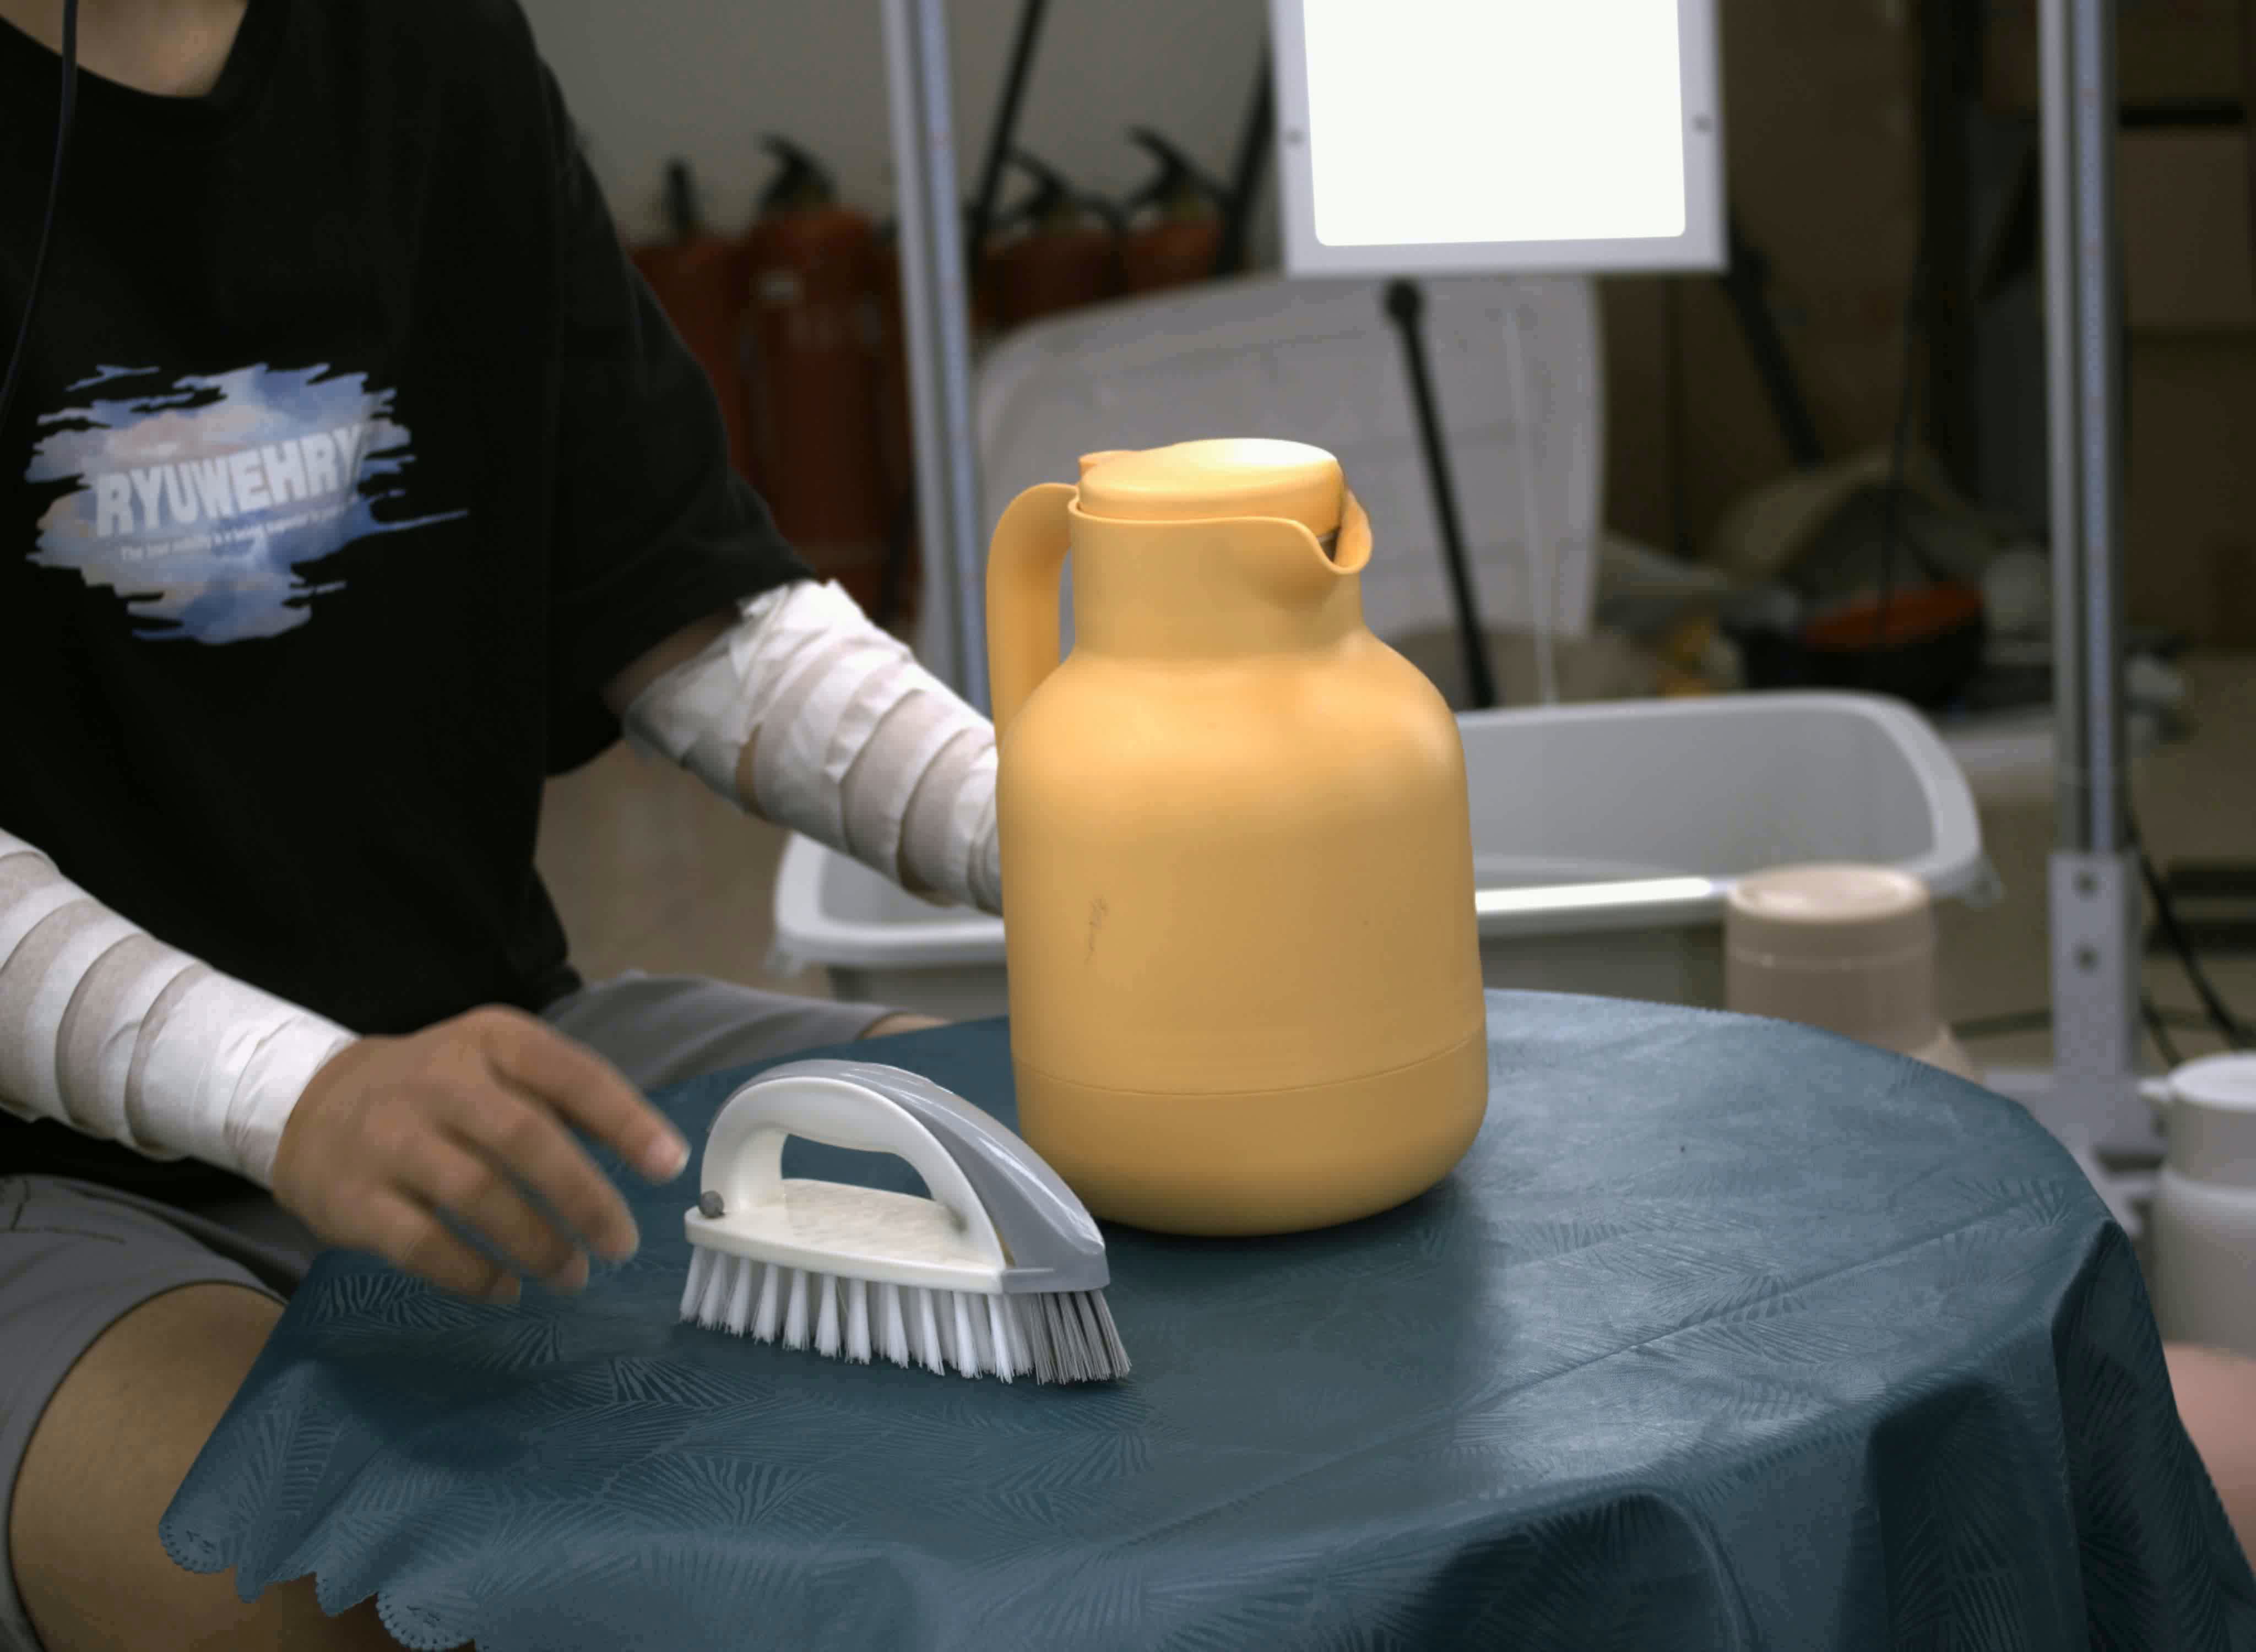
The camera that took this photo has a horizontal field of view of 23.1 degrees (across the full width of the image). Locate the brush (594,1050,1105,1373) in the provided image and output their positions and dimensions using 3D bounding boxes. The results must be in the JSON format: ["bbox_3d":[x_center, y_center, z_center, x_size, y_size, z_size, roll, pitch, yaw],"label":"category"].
[{"bbox_3d":[-0.088,0.120,1.750,0.178,0.094,0.060,8,23,26],"label":"brush"}]

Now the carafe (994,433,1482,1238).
[{"bbox_3d":[0.026,-0.004,1.876,0.159,0.261,0.206,-11,16,-31],"label":"carafe"}]
